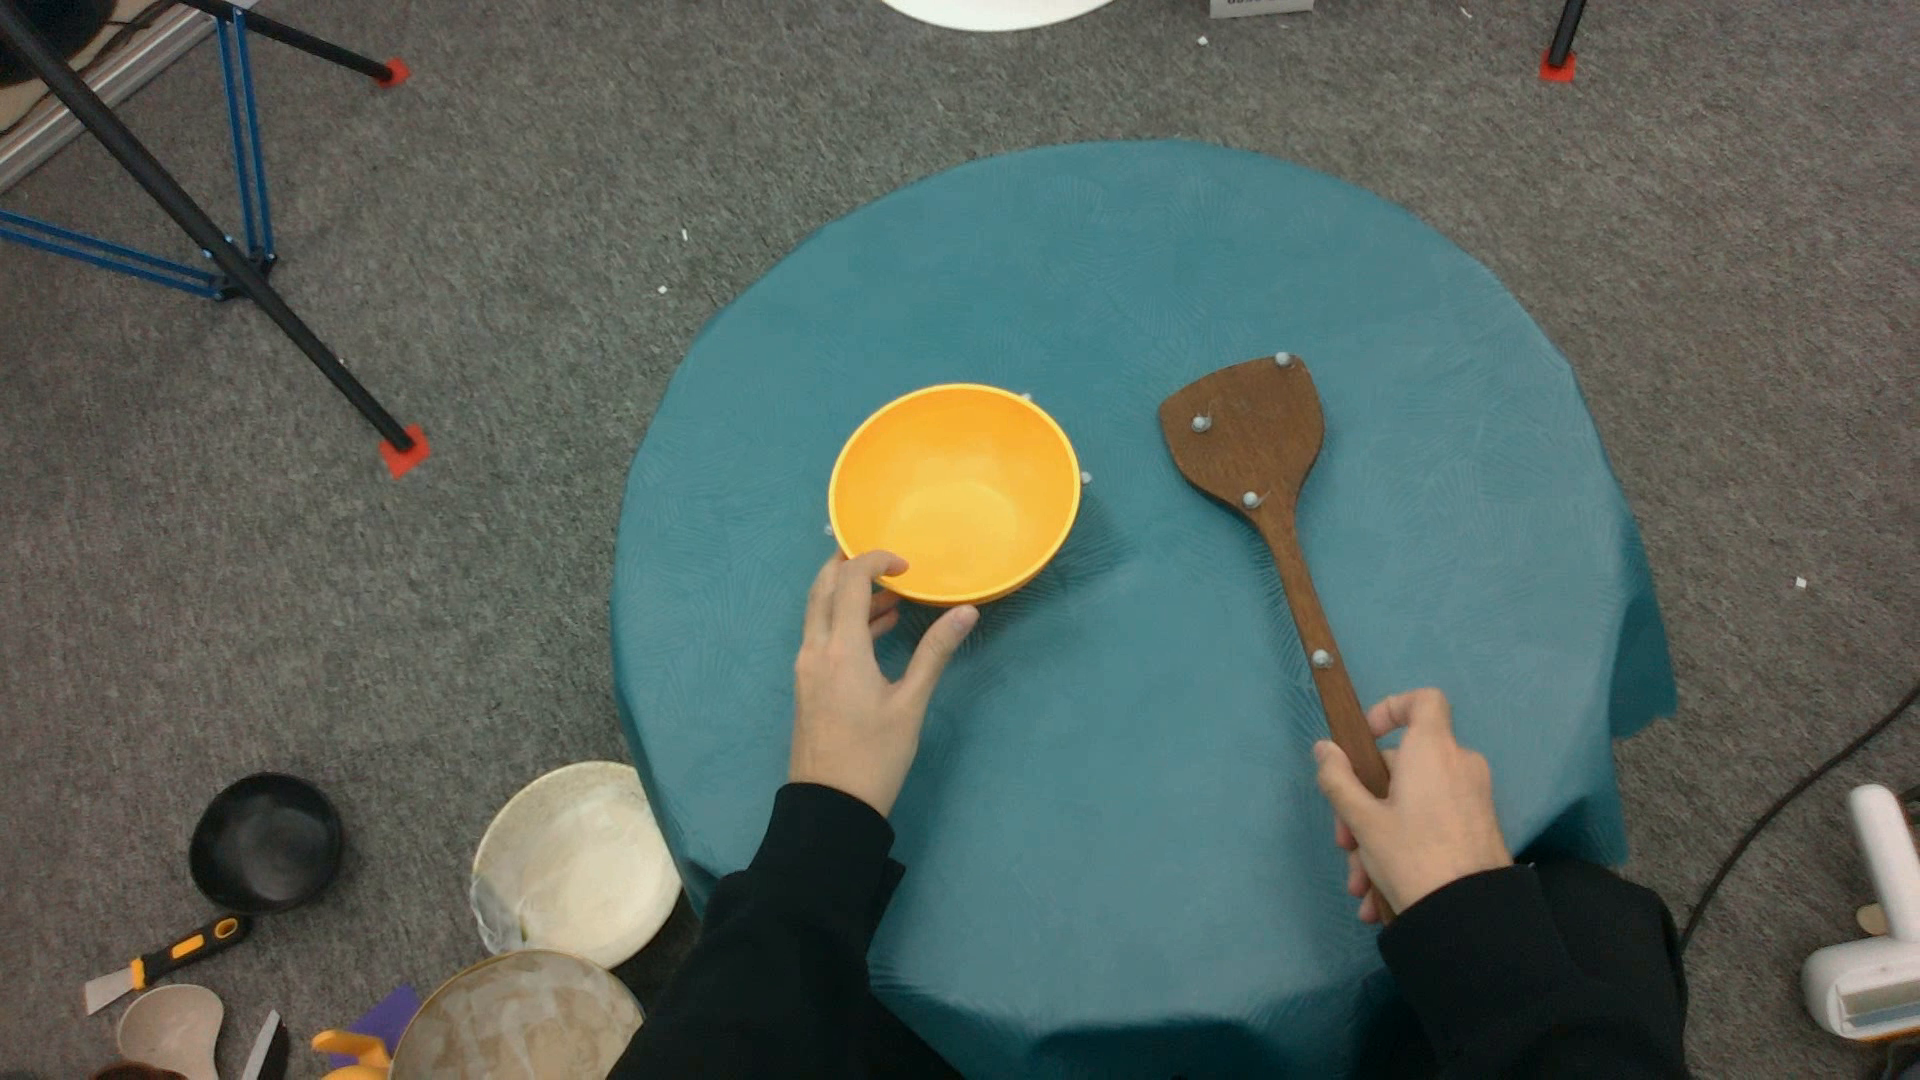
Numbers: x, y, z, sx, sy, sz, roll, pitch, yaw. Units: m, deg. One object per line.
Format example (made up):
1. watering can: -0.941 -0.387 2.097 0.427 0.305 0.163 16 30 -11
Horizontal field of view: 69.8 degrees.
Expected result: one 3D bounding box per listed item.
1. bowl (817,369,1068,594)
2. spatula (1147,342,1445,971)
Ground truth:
1. bowl: -0.007 -0.025 0.807 0.145 0.060 0.146 -4 63 7
2. spatula: 0.185 0.041 0.741 0.096 0.016 0.387 -19 53 11
